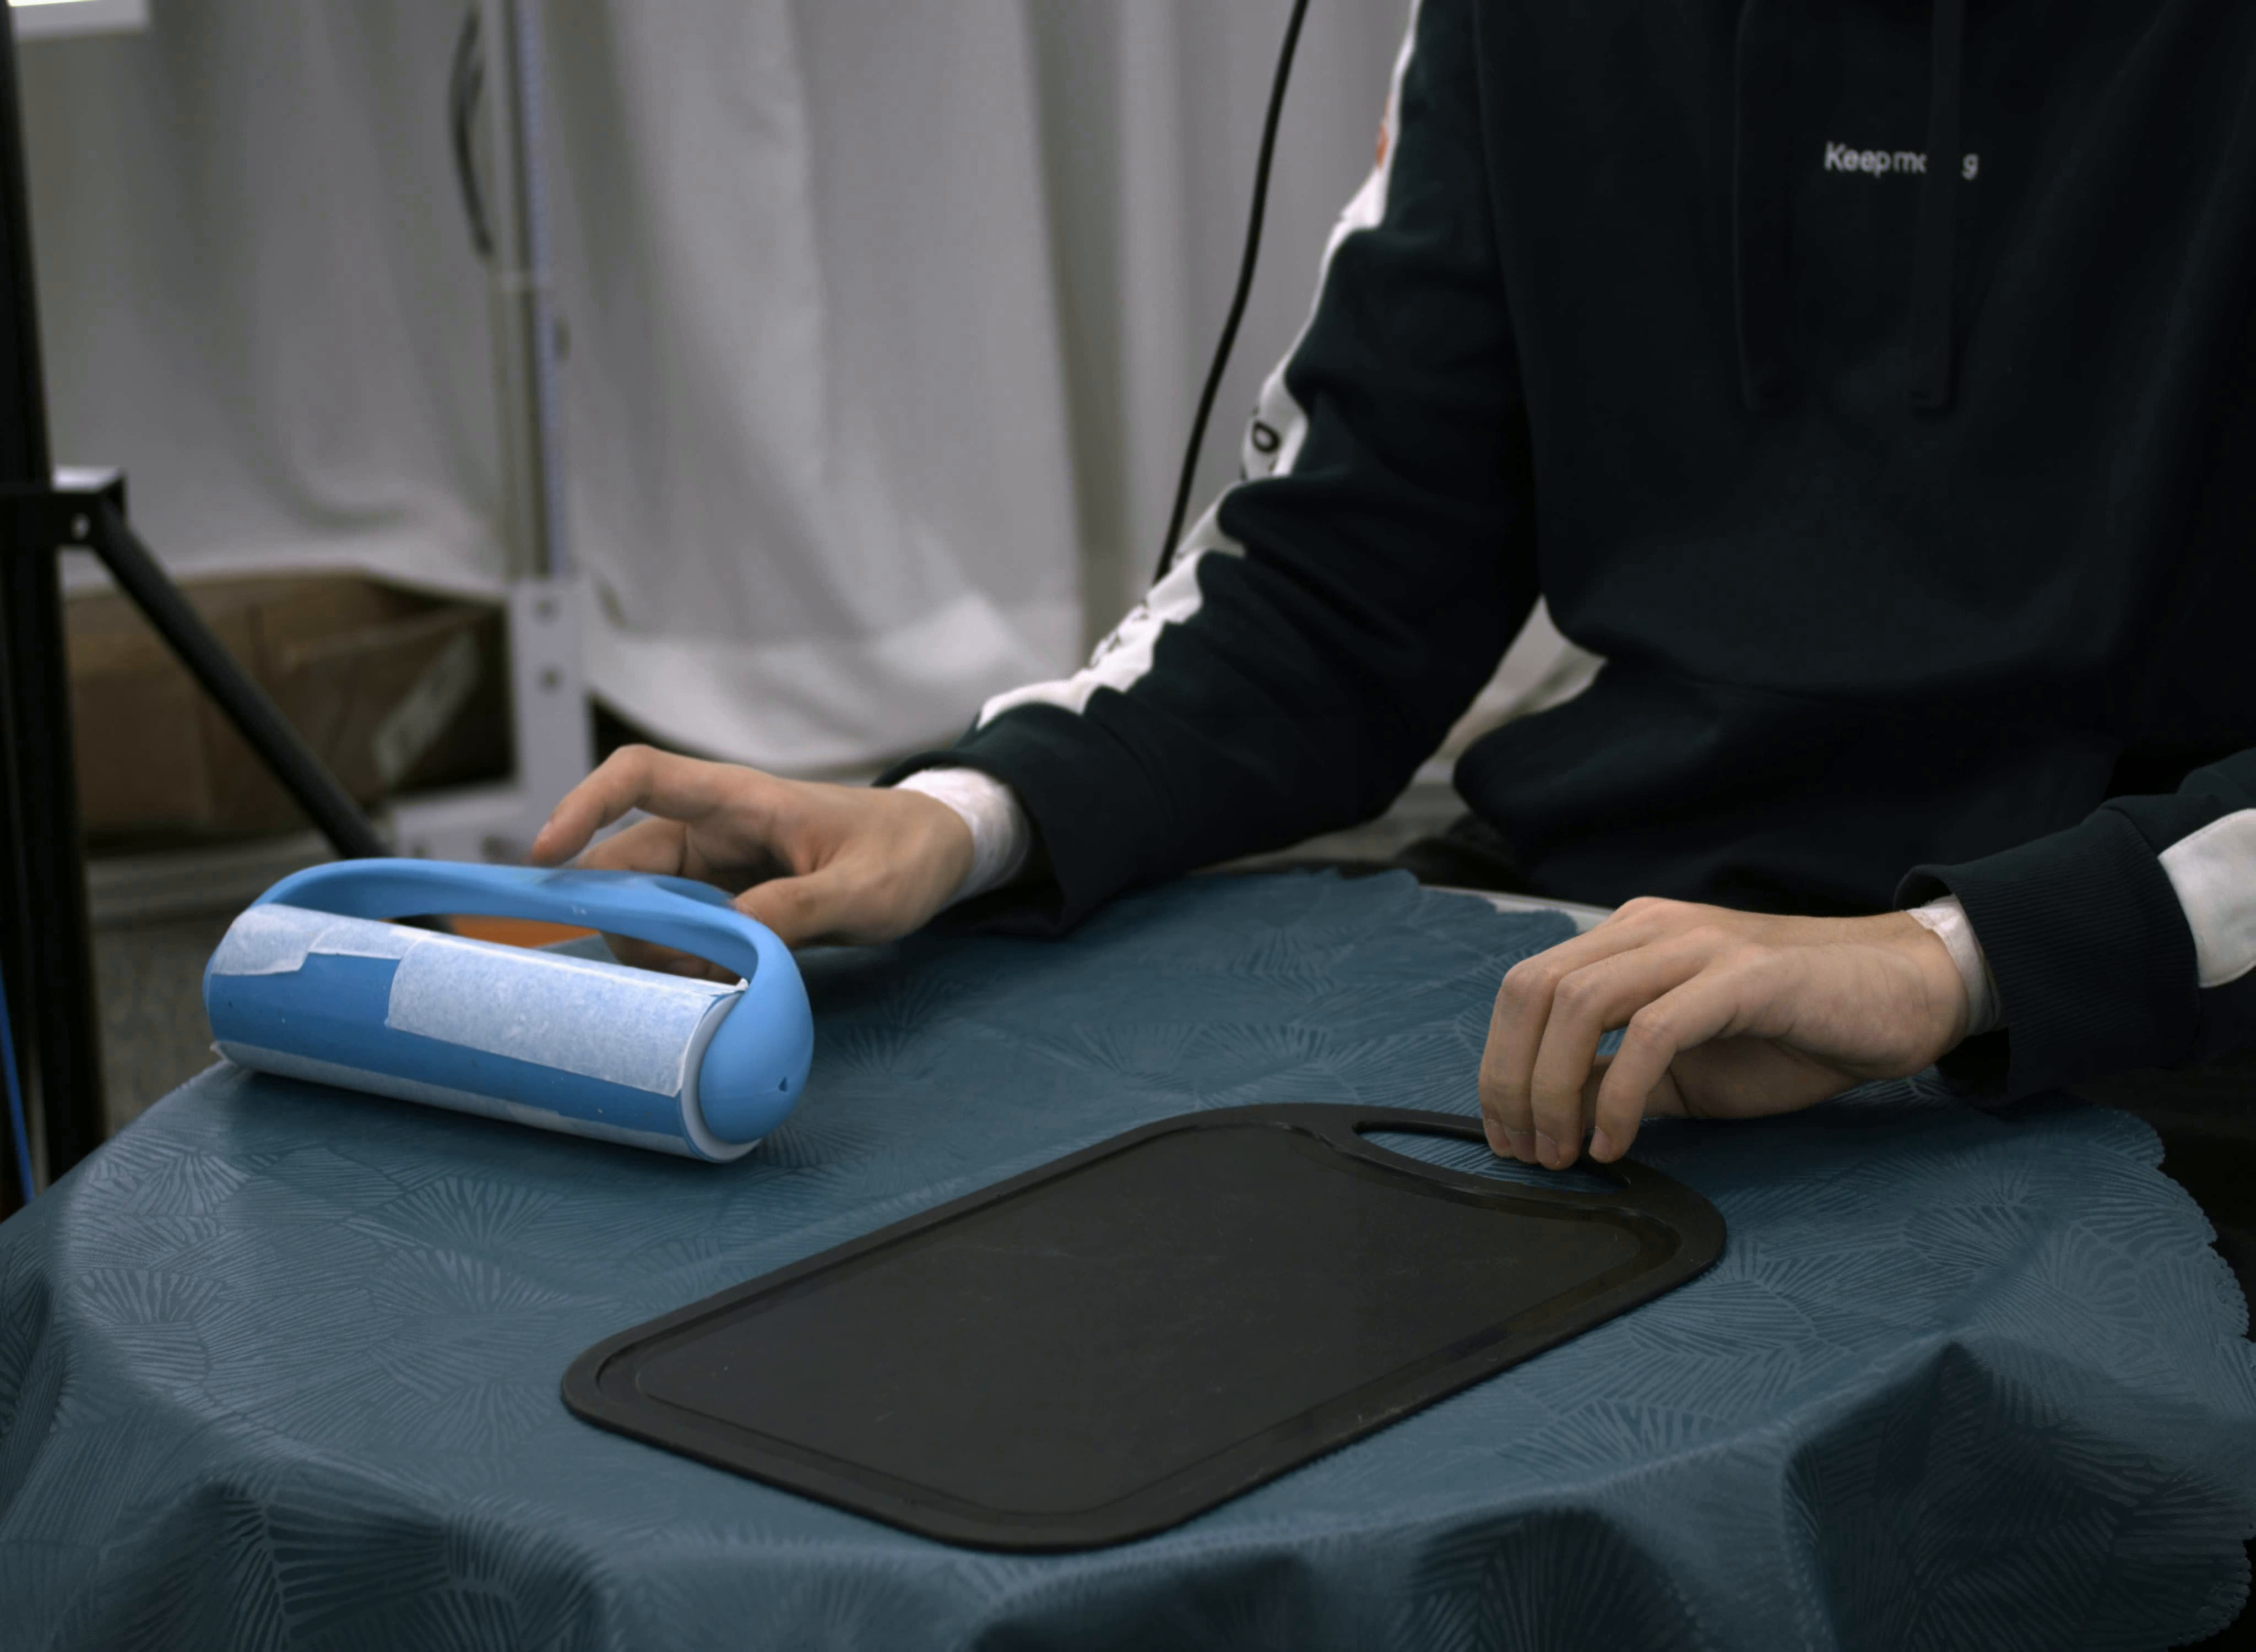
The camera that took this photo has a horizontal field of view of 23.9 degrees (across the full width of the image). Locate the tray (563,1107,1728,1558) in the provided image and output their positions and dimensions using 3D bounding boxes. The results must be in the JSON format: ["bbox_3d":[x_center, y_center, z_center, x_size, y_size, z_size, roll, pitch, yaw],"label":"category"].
[{"bbox_3d":[0.014,0.130,1.467,0.216,0.010,0.318,12,22,43],"label":"tray"}]

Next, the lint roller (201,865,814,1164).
[{"bbox_3d":[-0.165,0.047,1.698,0.233,0.068,0.177,6,19,32],"label":"lint roller"}]
